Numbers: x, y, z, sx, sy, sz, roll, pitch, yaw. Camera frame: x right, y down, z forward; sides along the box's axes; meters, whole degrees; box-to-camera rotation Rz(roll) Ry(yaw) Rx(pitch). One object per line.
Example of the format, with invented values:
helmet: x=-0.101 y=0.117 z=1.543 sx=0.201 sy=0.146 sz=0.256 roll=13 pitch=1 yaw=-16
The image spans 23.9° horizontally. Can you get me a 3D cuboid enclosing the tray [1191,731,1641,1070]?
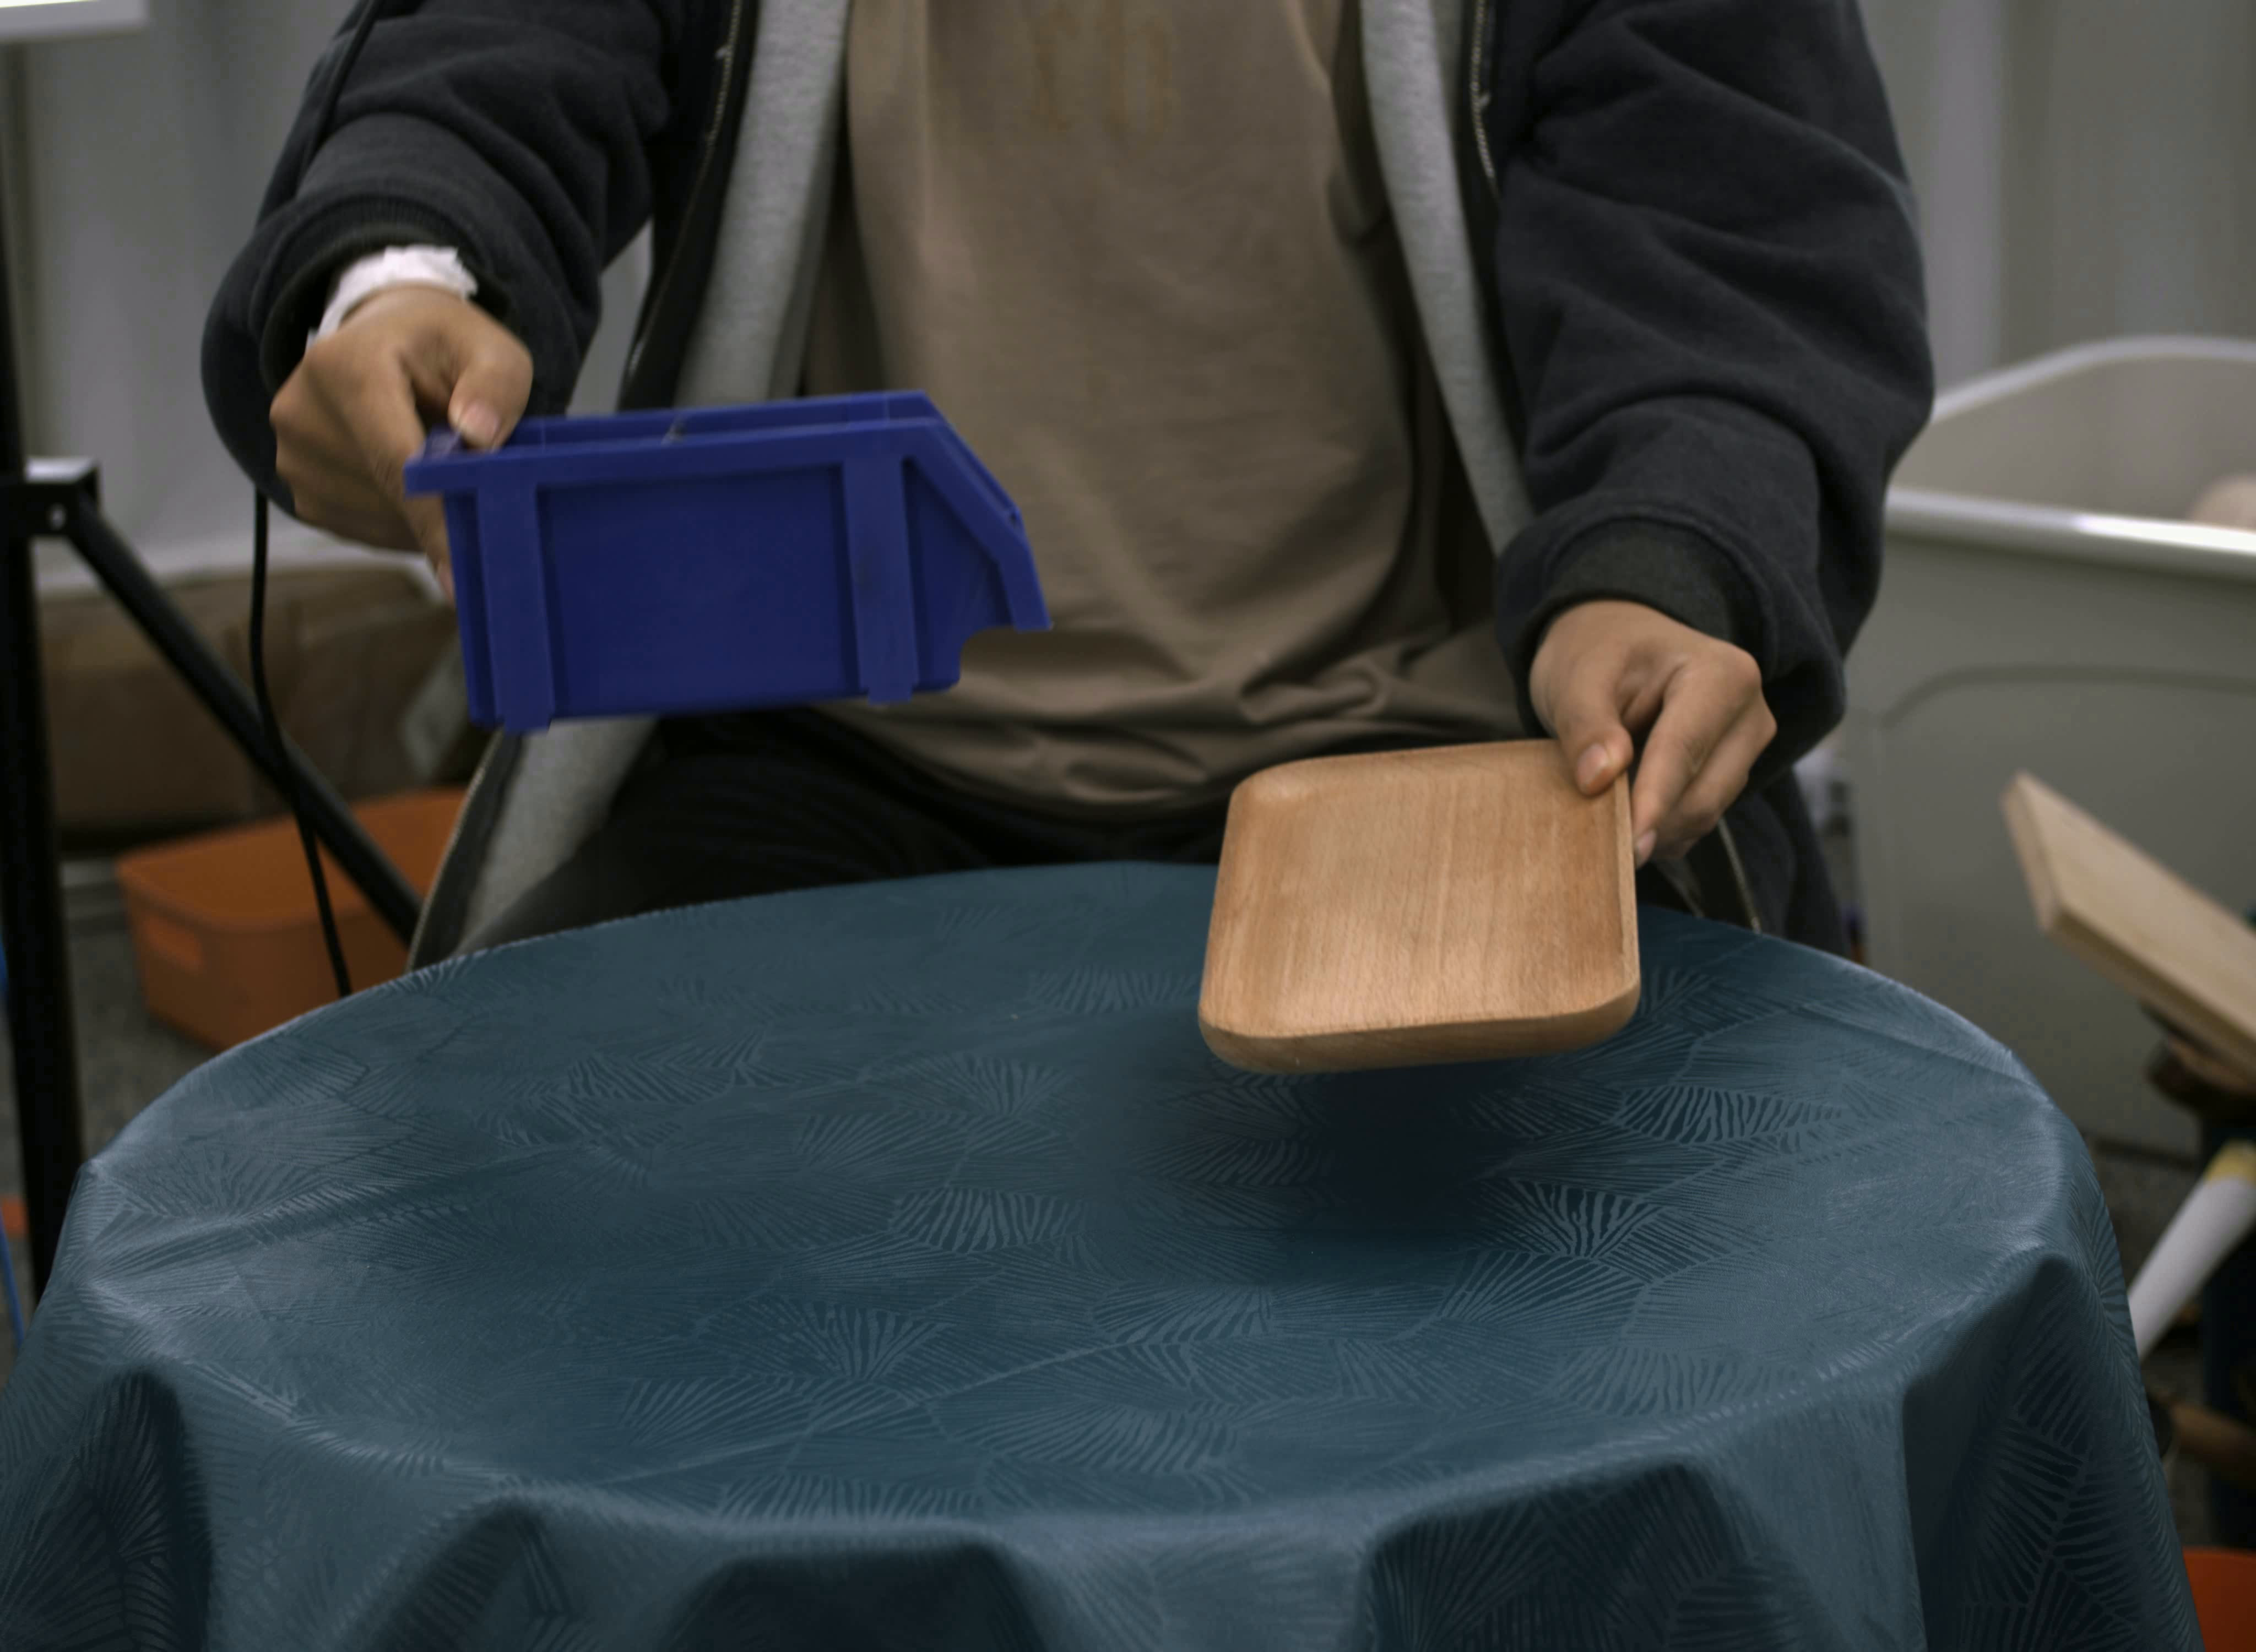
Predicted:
tray: x=0.088 y=0.020 z=1.598 sx=0.130 sy=0.023 sz=0.251 roll=-3 pitch=18 yaw=6

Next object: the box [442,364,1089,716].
box: x=-0.103 y=-0.087 z=1.578 sx=0.179 sy=0.082 sz=0.125 roll=-7 pitch=8 yaw=1
